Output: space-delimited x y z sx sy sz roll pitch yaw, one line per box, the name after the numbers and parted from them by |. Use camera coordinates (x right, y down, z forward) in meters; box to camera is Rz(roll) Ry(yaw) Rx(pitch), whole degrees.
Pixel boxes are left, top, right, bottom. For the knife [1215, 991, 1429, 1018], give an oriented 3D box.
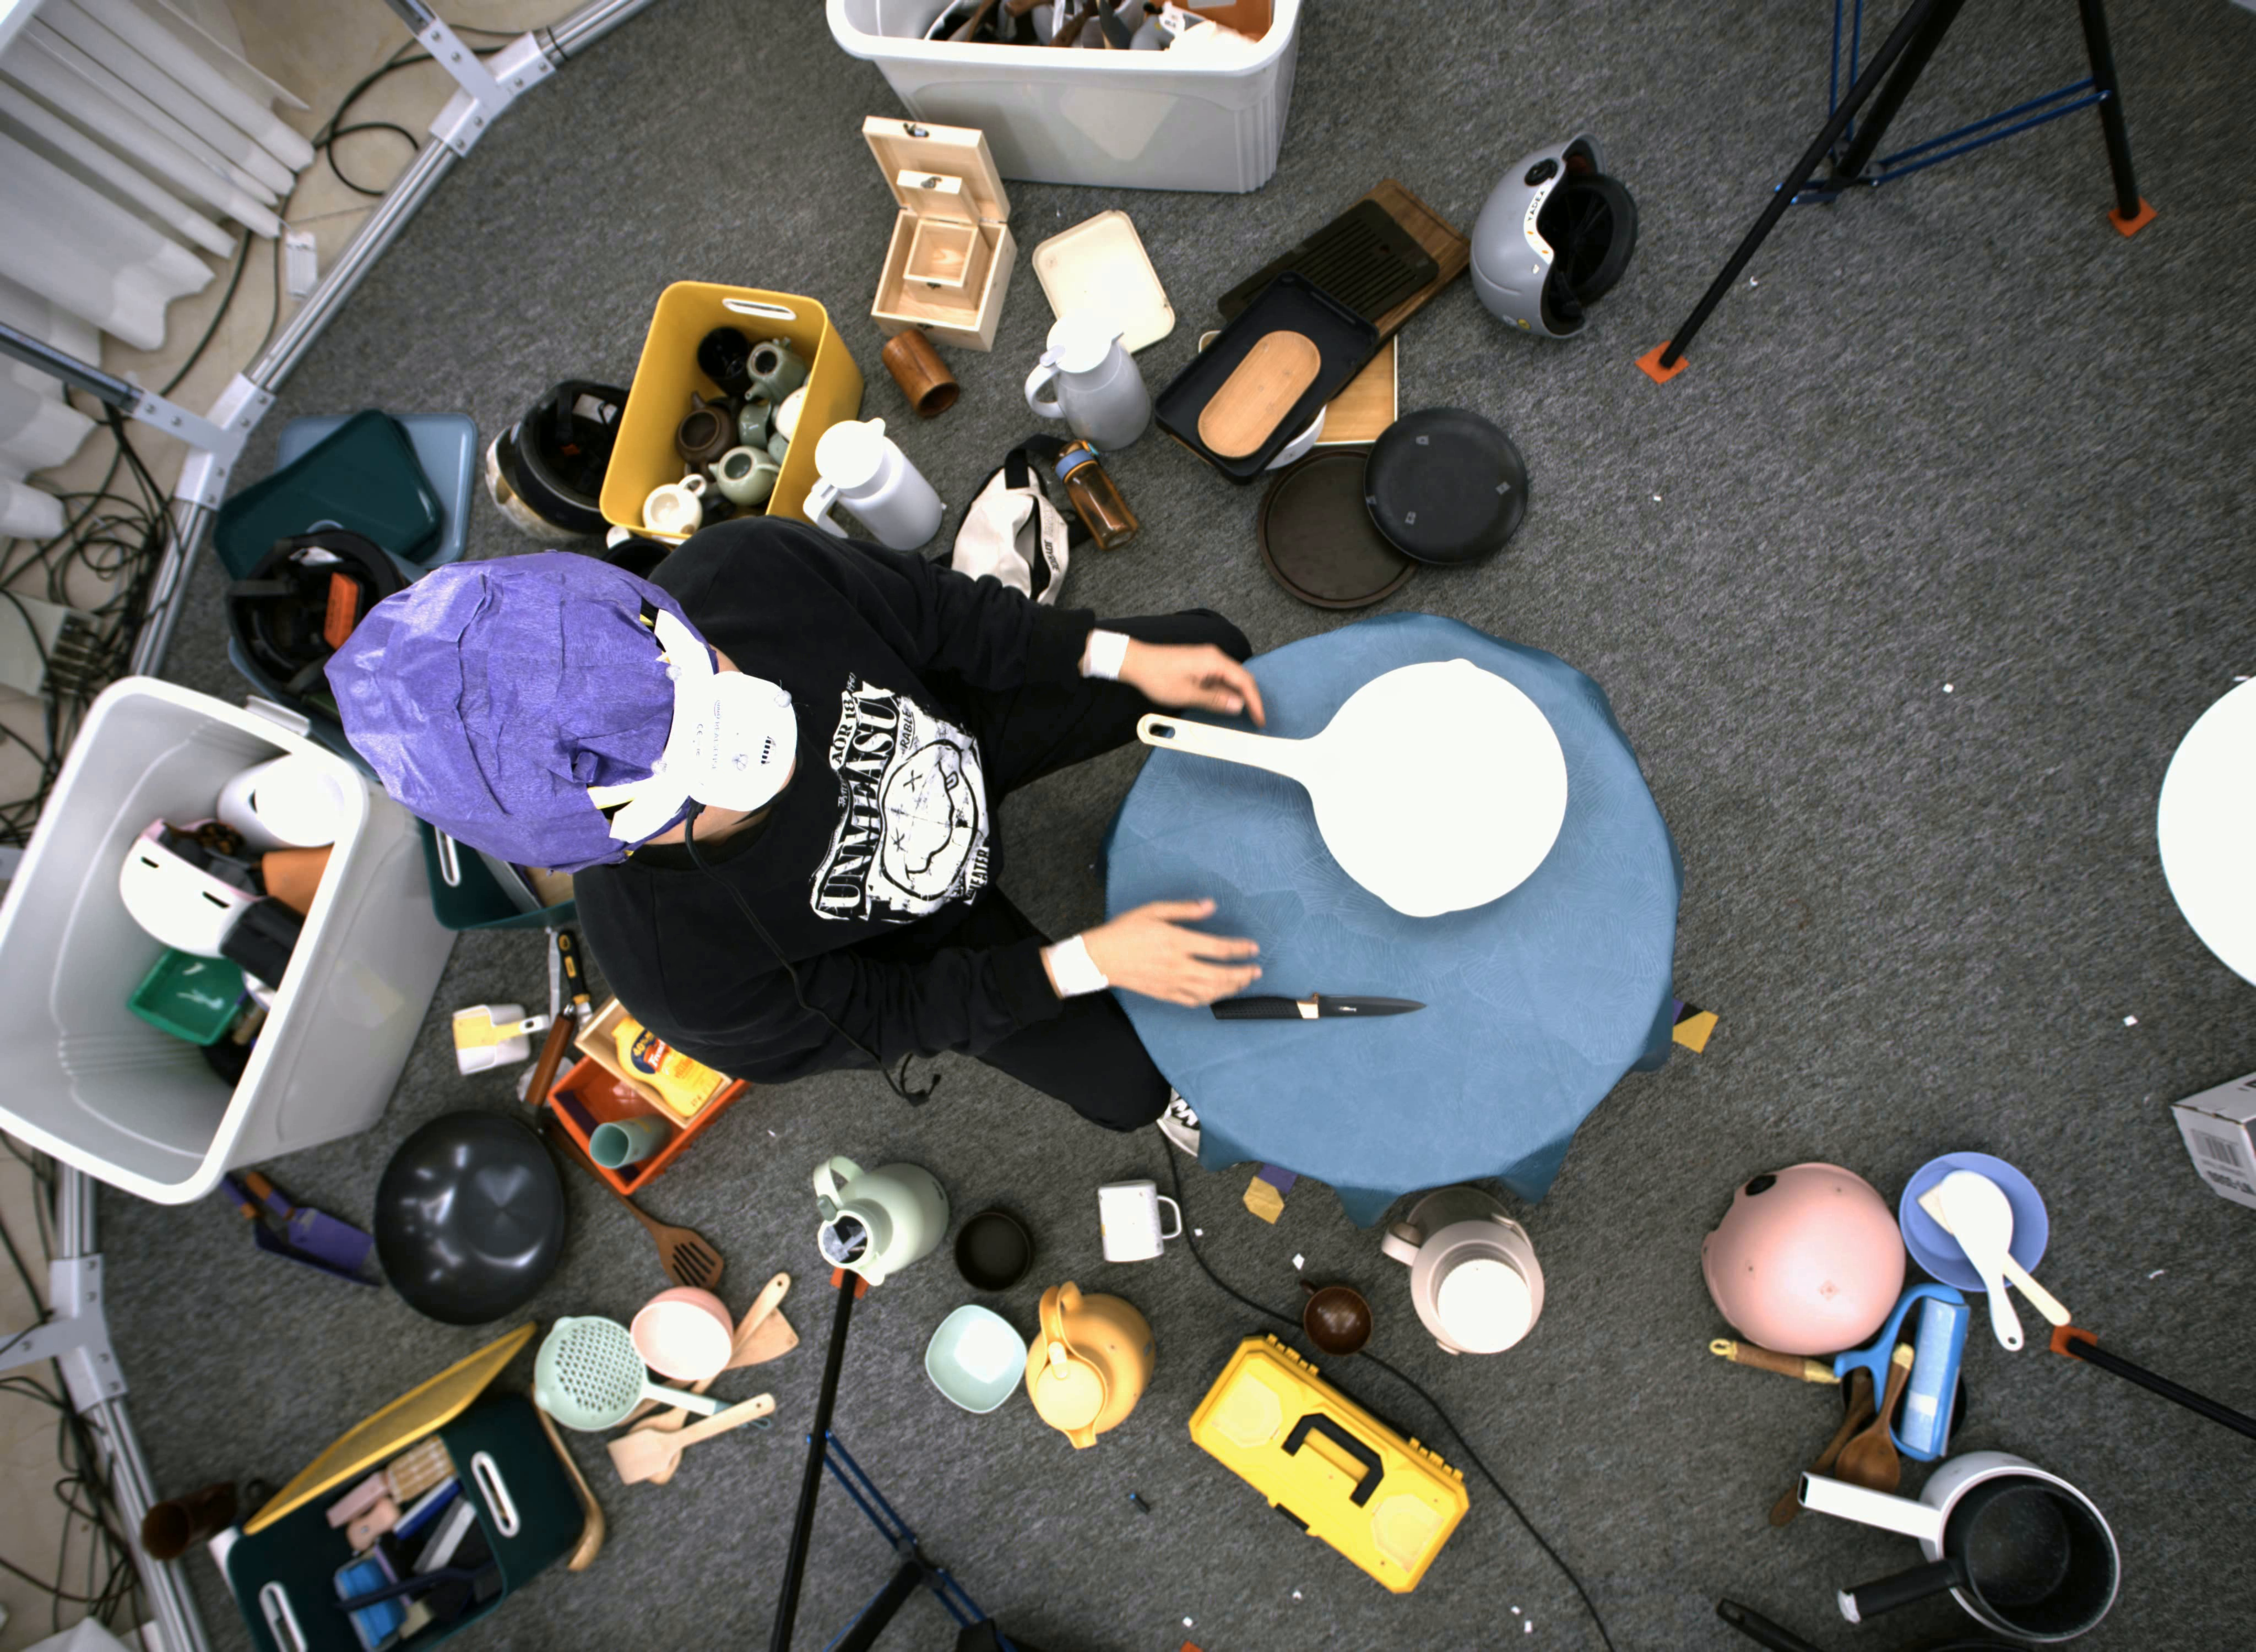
0.204 0.187 1.464 0.226 0.017 0.026 -3 70 10 | knife

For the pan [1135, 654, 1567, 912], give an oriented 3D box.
0.227 -0.060 1.425 0.436 0.102 0.263 10 90 11 | pan
